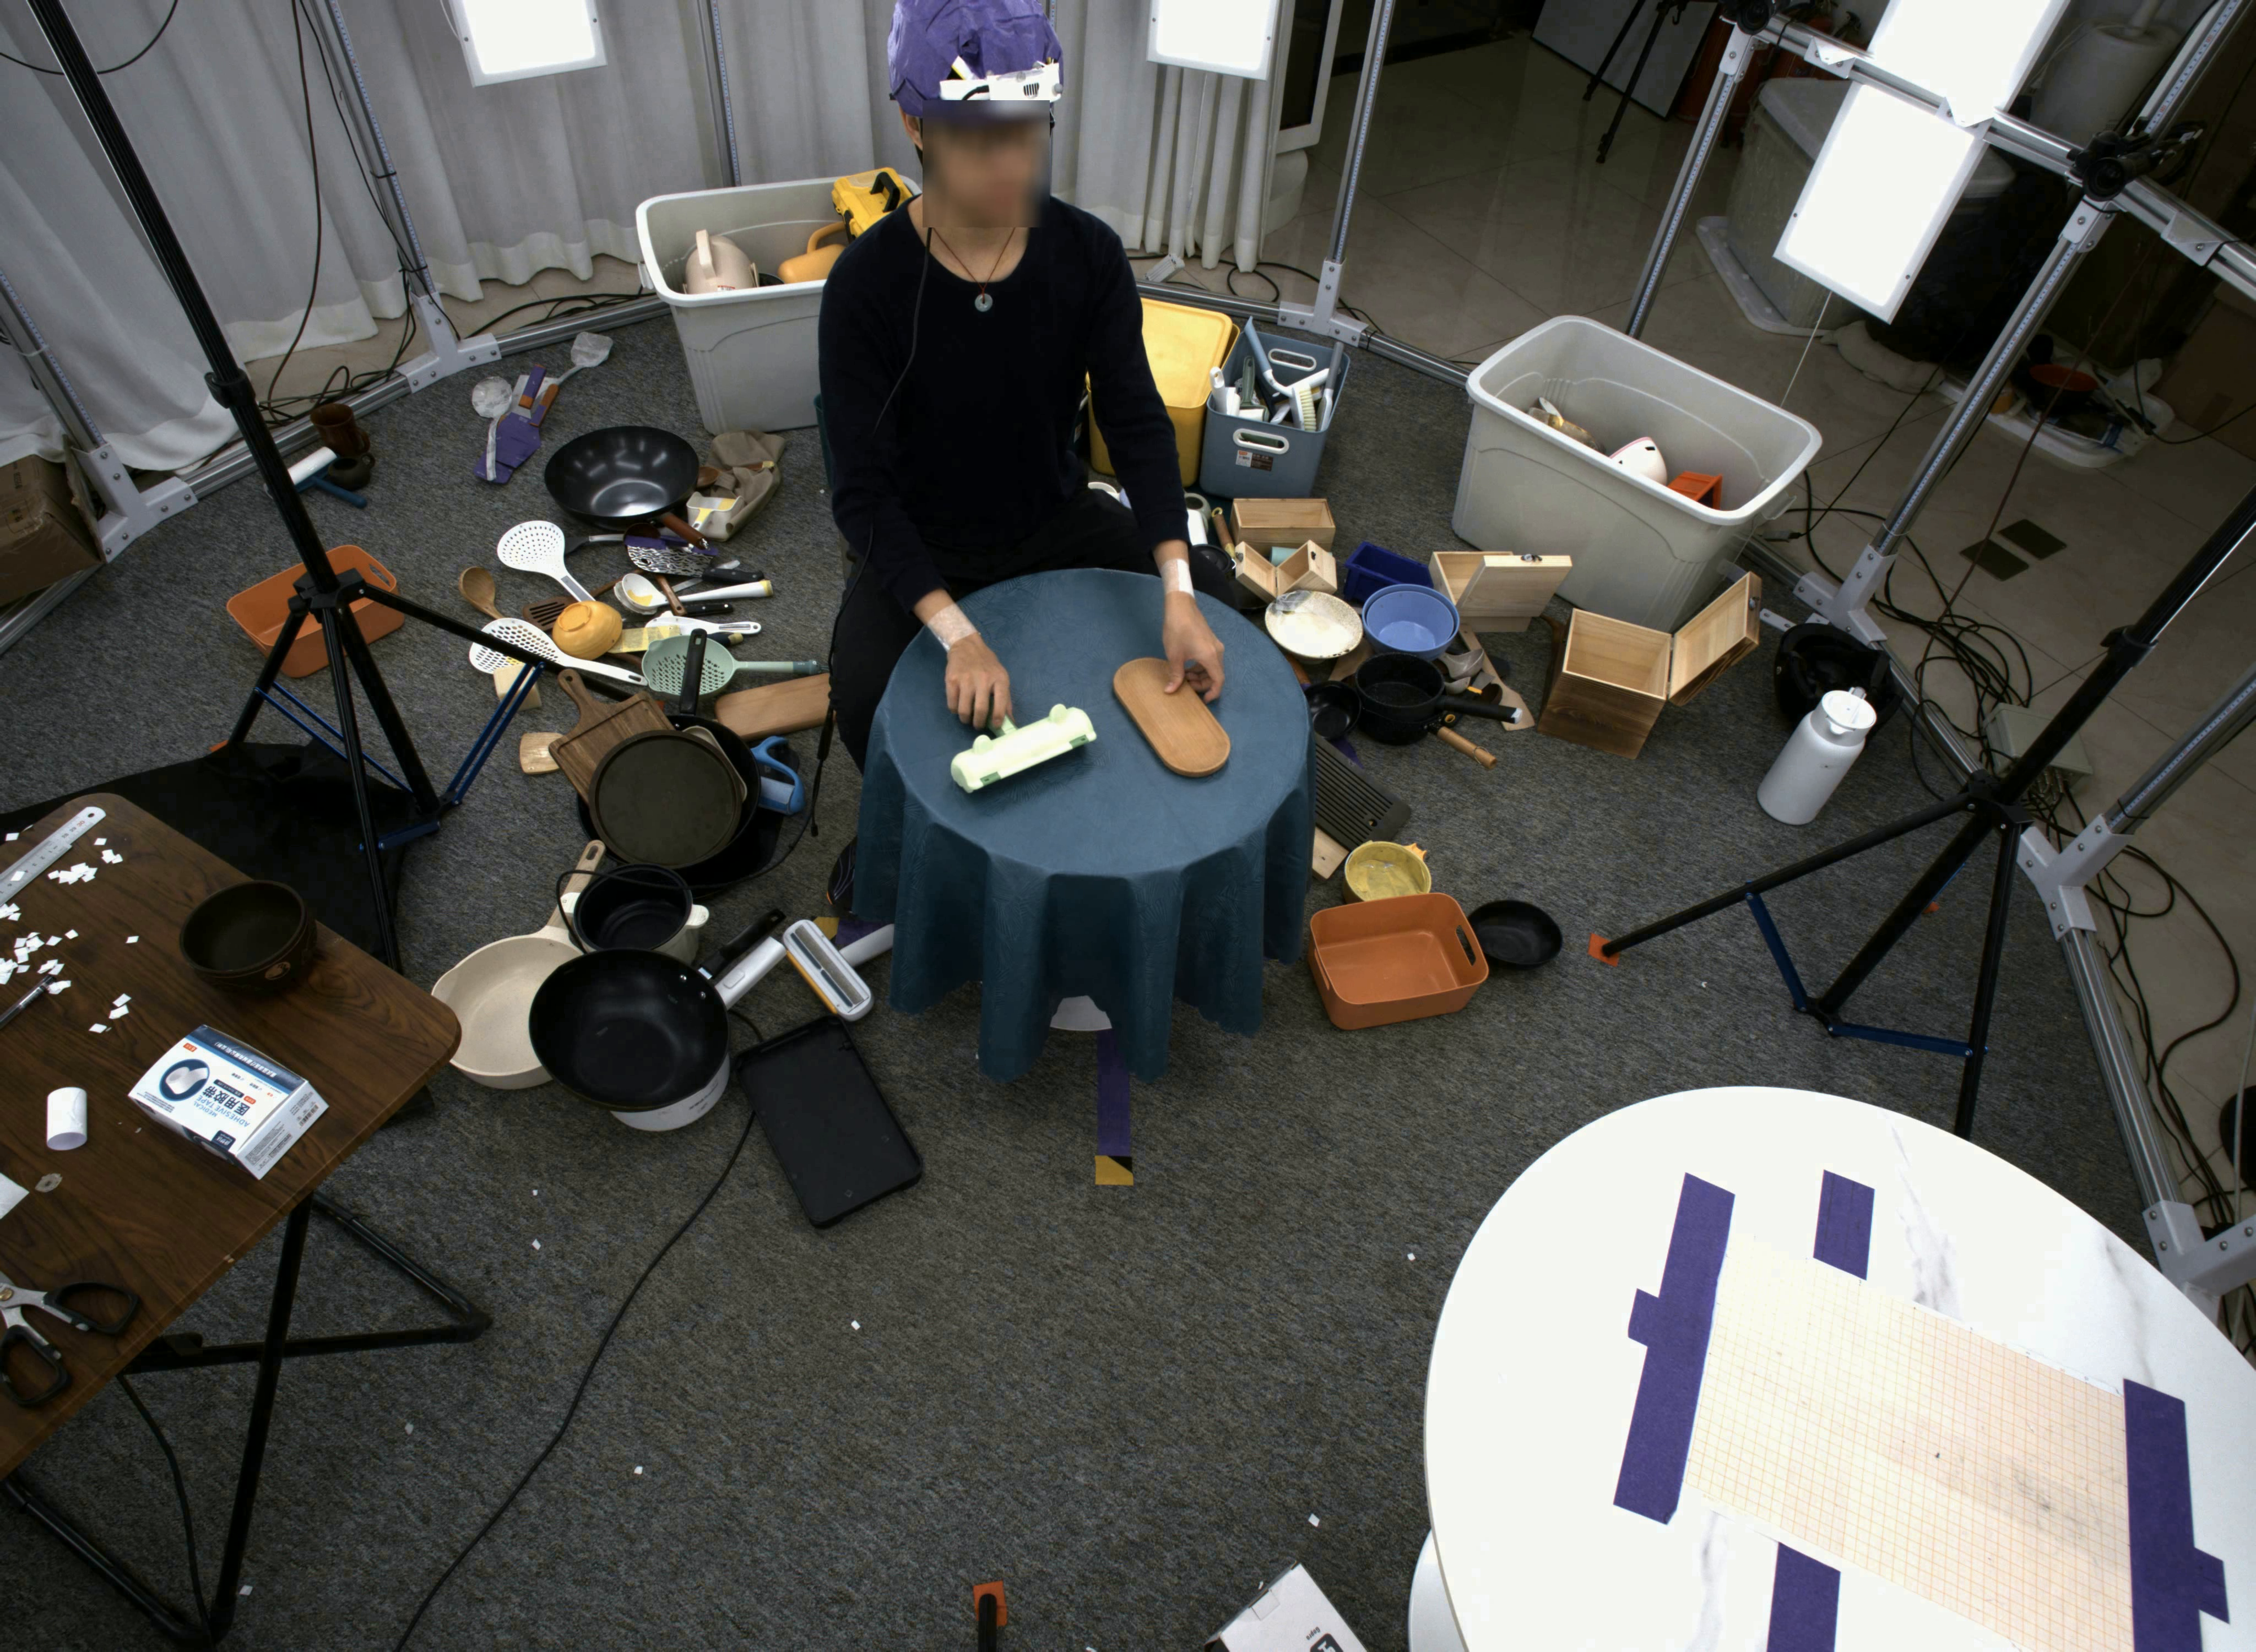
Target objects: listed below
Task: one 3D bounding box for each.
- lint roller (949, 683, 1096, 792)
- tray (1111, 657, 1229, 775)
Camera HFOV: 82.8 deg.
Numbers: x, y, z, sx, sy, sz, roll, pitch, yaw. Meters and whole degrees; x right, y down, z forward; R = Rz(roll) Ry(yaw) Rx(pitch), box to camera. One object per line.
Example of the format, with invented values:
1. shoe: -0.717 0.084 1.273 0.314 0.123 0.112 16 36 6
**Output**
1. lint roller: -0.170 -0.148 1.730 0.199 0.080 0.187 -24 60 -23
2. tray: 0.057 -0.156 1.797 0.102 0.020 0.236 -20 52 -18
